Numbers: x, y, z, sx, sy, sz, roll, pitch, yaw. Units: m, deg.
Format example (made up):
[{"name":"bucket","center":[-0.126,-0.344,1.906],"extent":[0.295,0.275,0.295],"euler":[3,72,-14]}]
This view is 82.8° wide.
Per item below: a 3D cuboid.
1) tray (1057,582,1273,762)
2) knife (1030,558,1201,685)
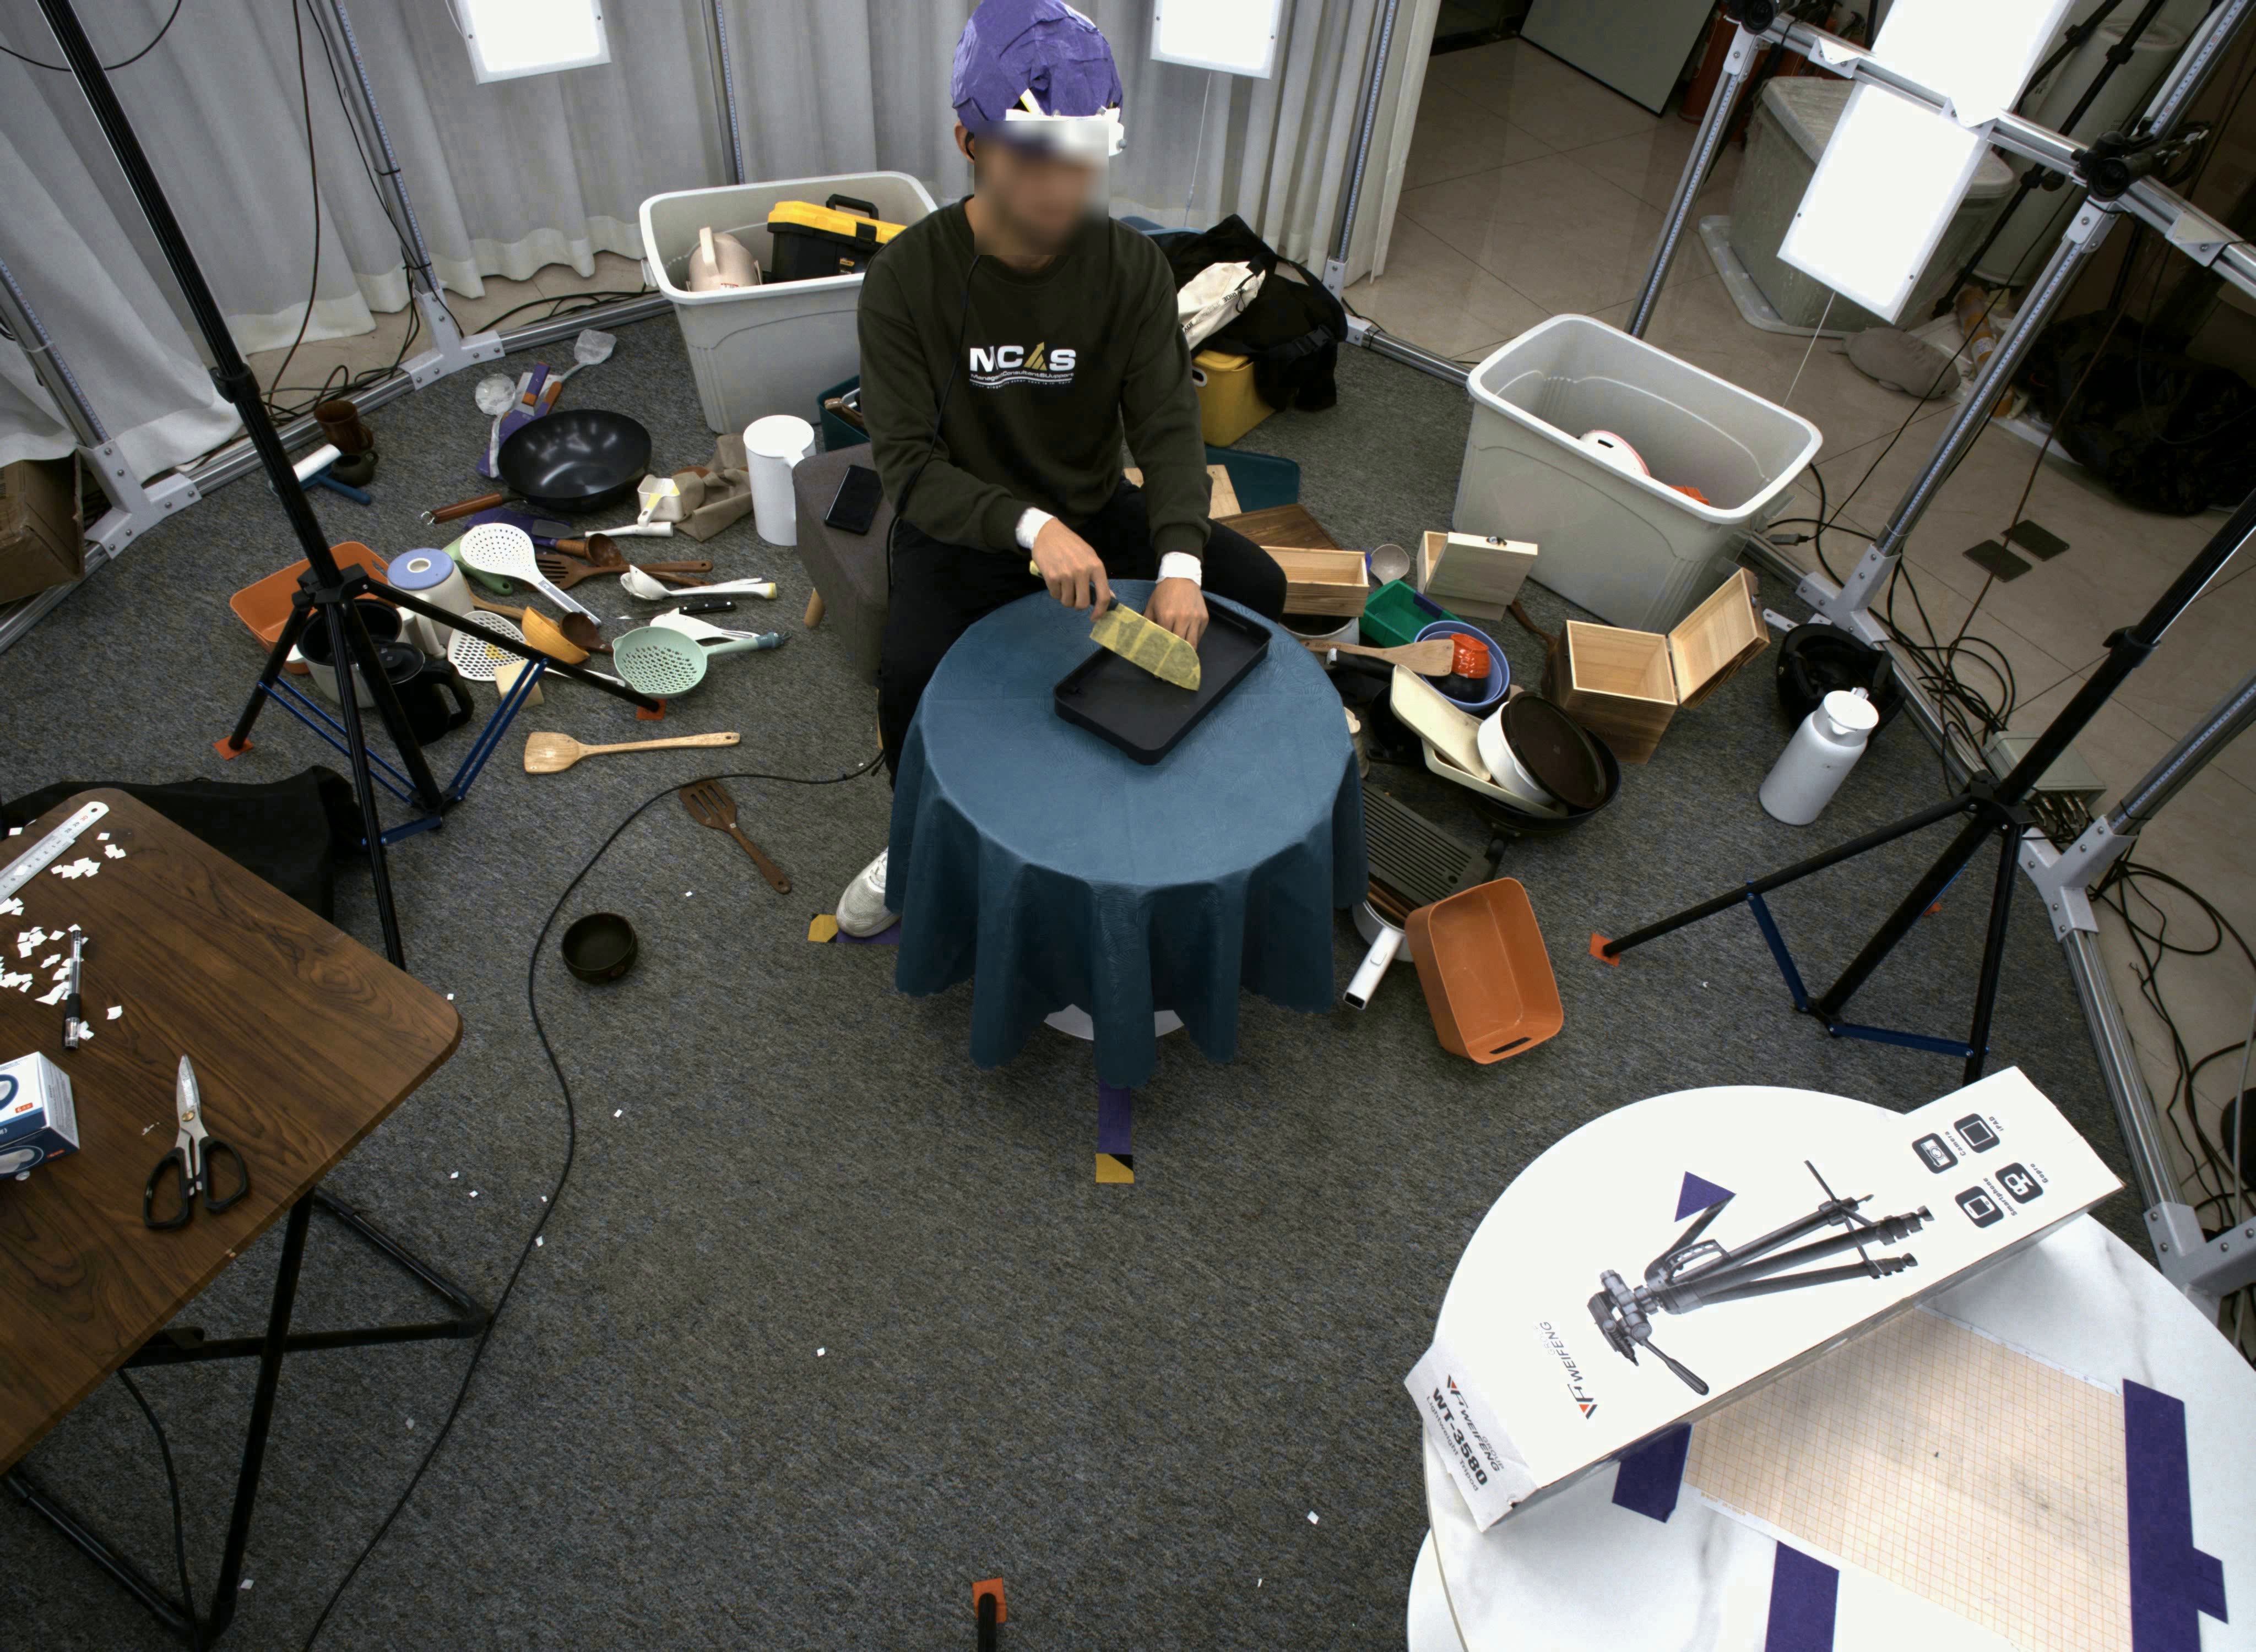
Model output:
[{"name":"tray","center":[0.056,-0.228,1.844],"extent":[0.186,0.036,0.322],"euler":[29,53,20]},{"name":"knife","center":[-0.019,-0.287,1.817],"extent":[0.289,0.080,0.028],"euler":[33,33,-3]}]
